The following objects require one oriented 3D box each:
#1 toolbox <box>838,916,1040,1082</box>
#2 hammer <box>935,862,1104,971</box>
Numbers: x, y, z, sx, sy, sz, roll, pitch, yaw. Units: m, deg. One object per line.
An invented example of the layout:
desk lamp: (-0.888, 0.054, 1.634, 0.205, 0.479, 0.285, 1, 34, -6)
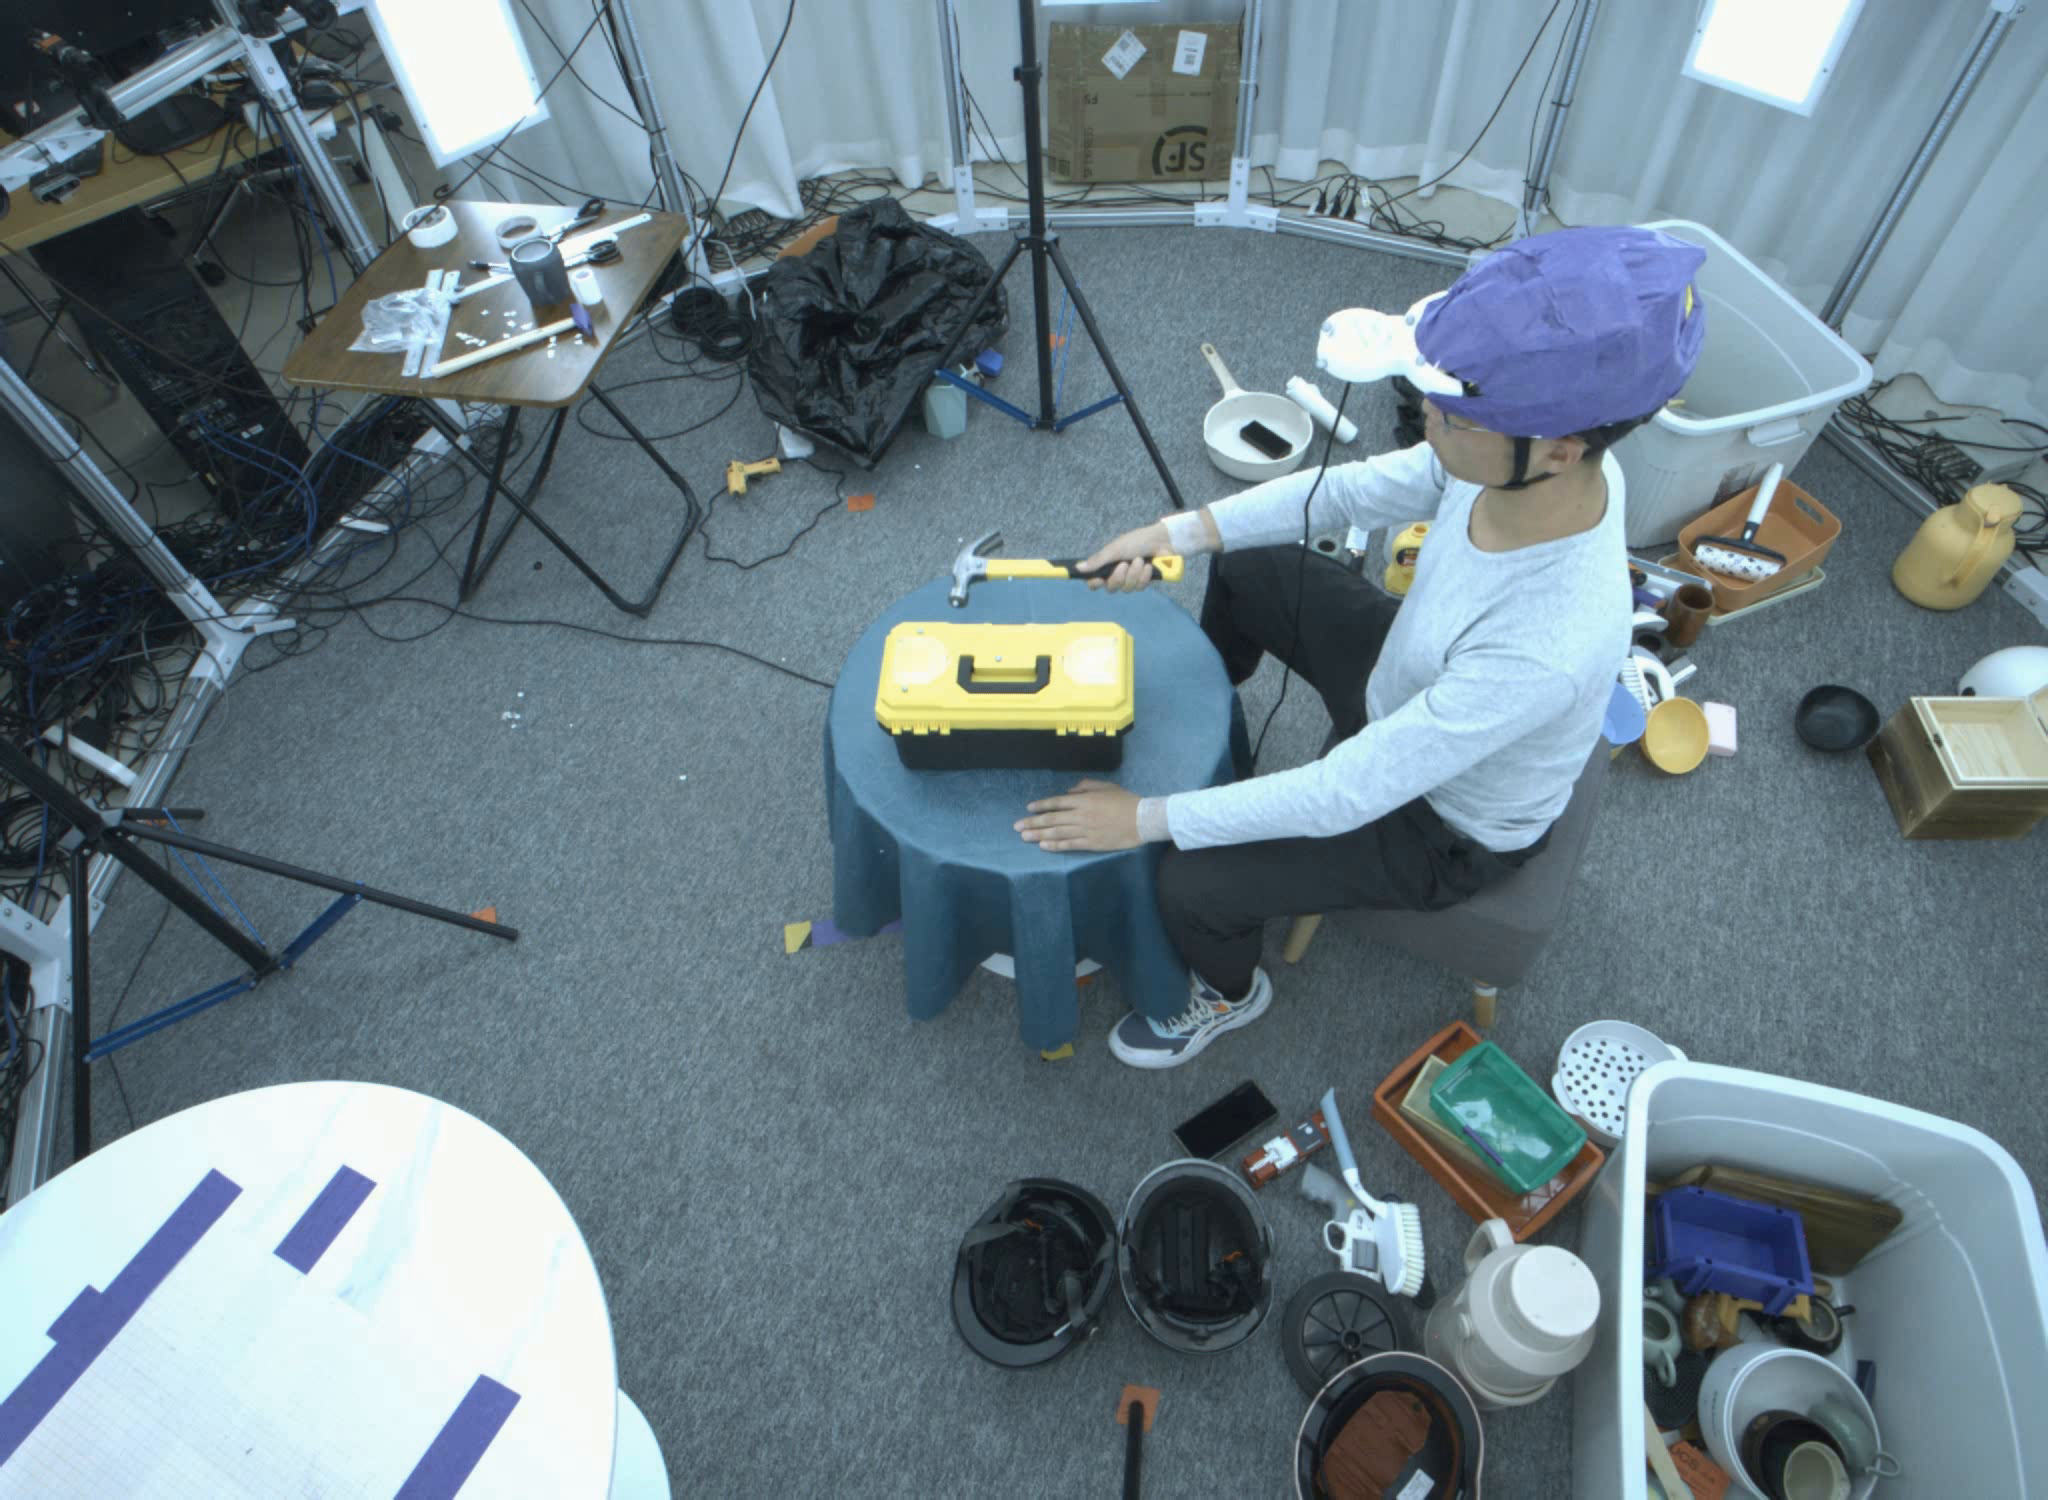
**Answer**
toolbox: (-0.153, 0.458, 2.254, 0.347, 0.174, 0.182, 24, 59, 18)
hammer: (0.002, 0.310, 2.256, 0.332, 0.033, 0.132, 27, 61, 28)
